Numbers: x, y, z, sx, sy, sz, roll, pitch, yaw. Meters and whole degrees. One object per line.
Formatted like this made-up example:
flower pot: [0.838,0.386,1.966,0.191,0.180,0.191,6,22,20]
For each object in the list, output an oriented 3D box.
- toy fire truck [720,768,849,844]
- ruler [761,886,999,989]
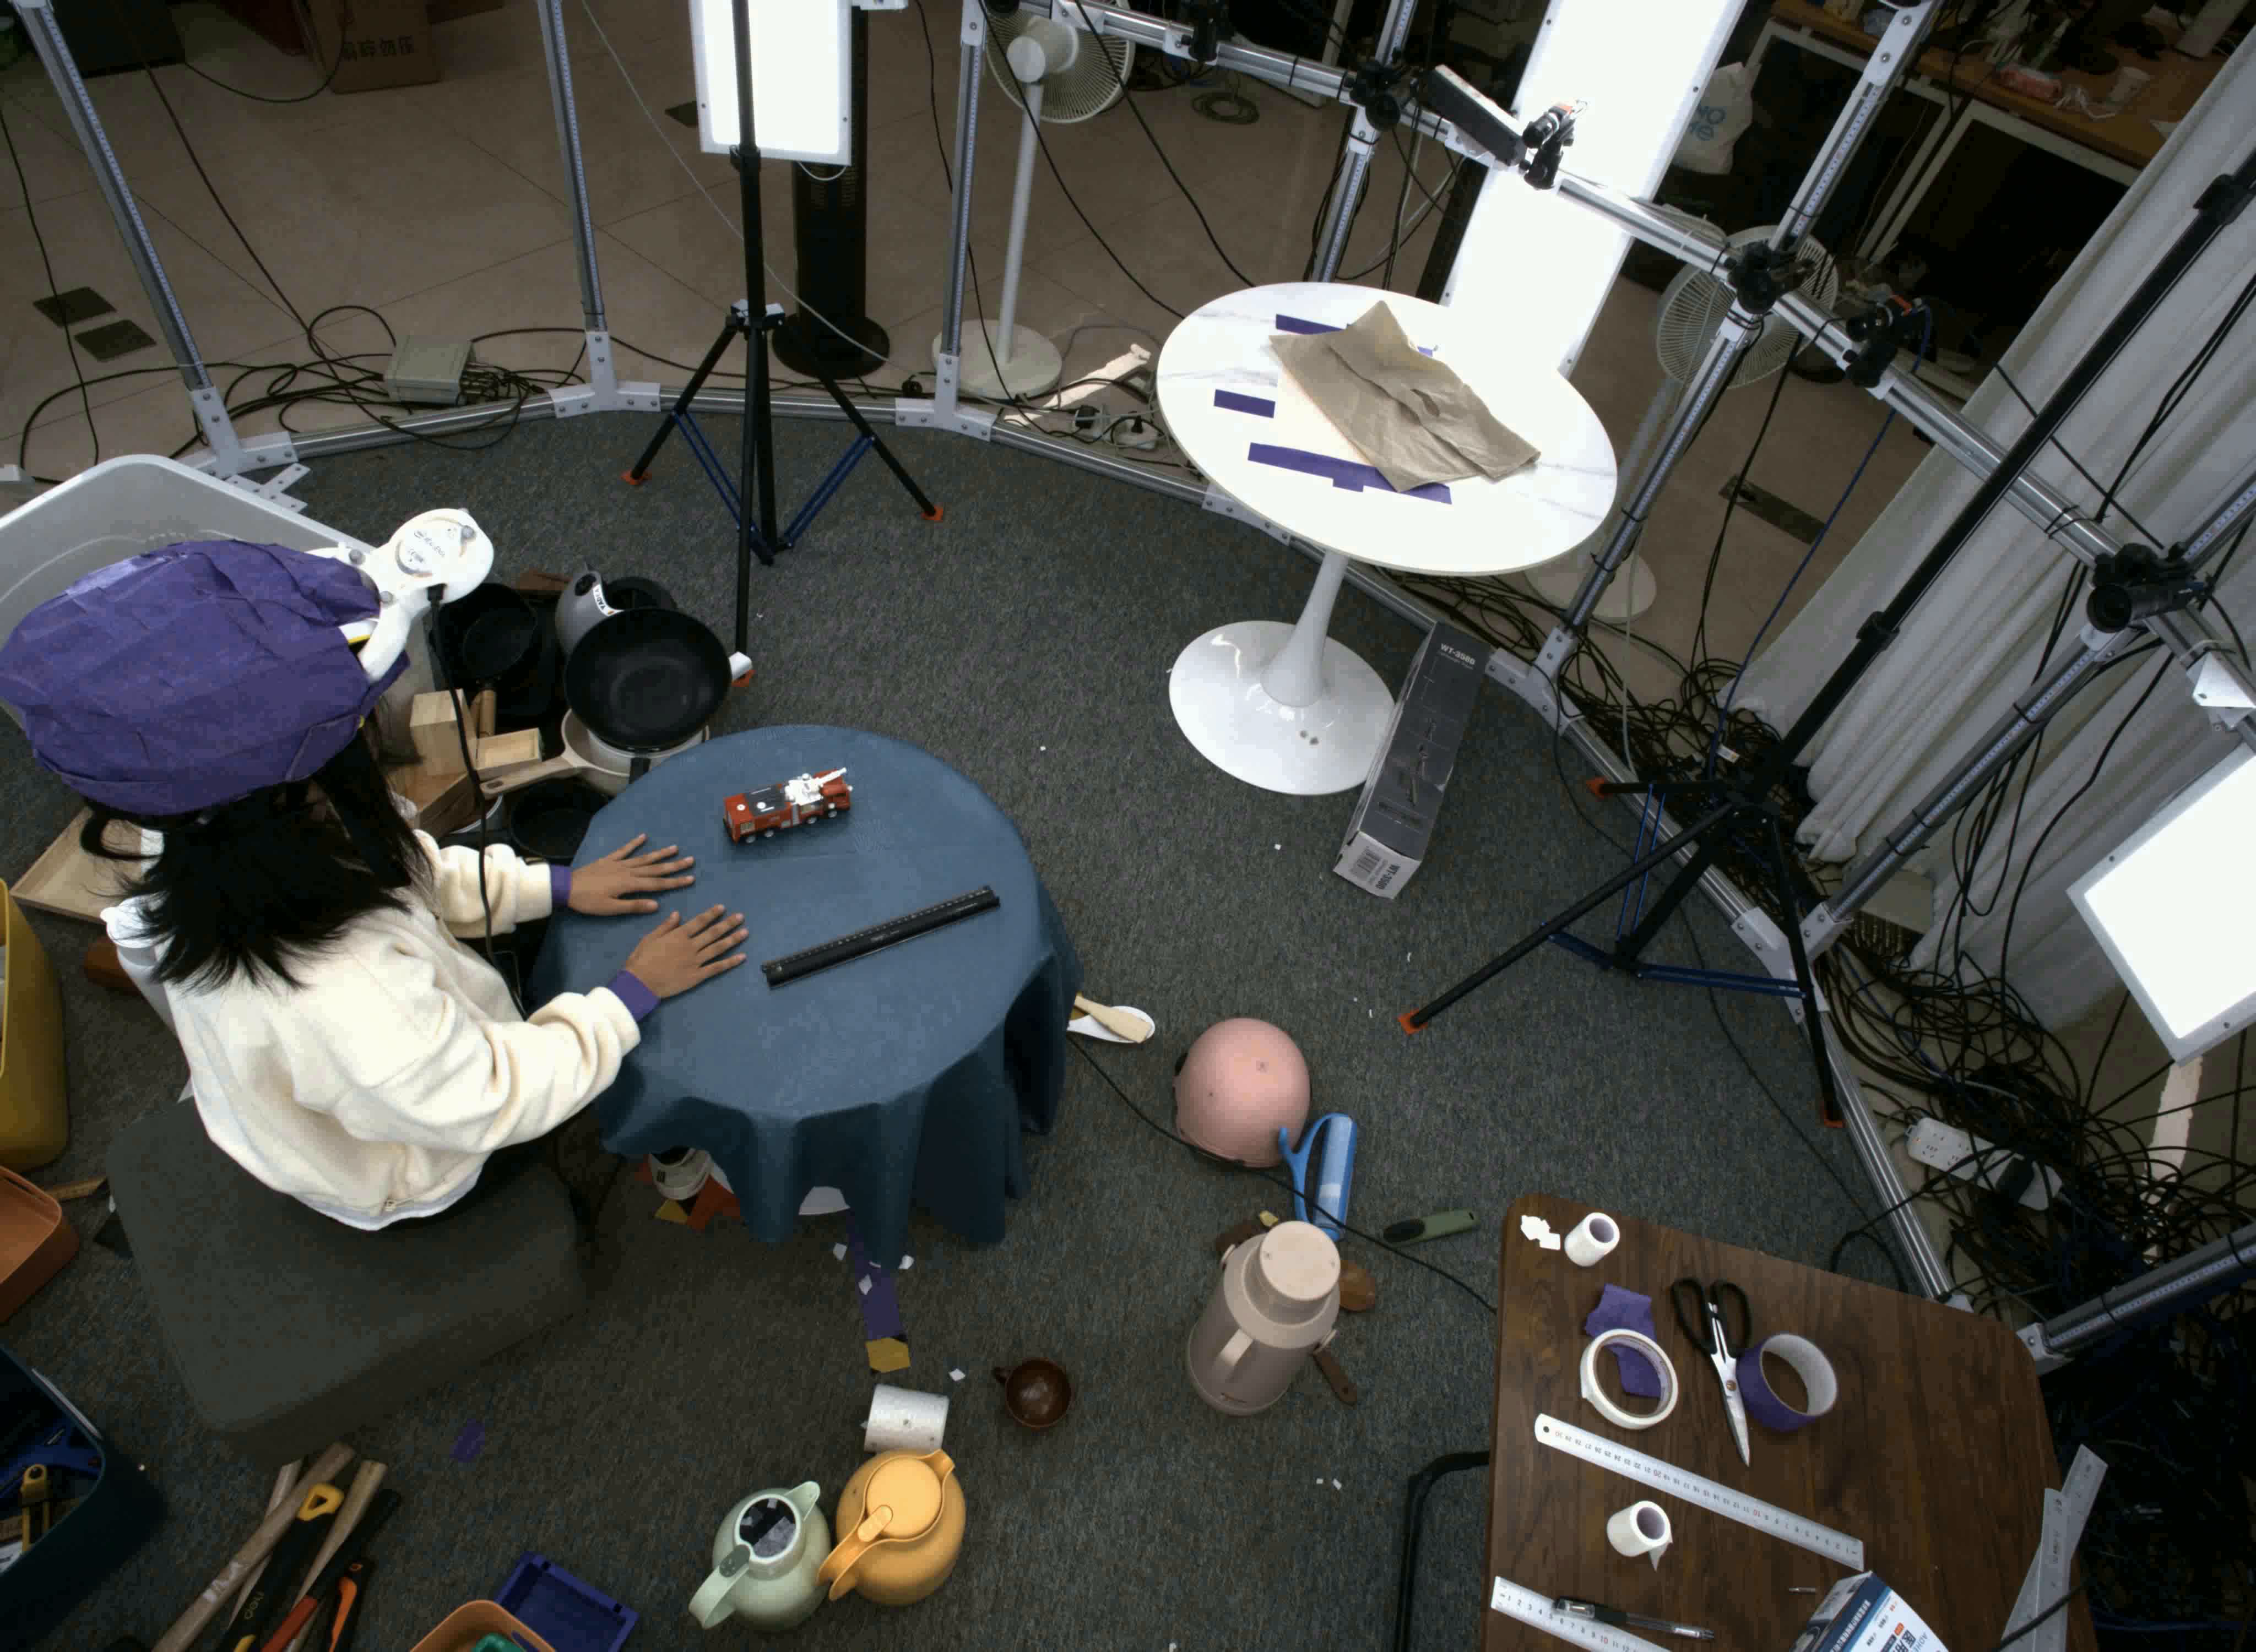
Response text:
toy fire truck: [-0.448,-0.030,1.697,0.169,0.072,0.052,-20,59,-25]
ruler: [-0.308,0.131,1.641,0.314,0.017,0.038,-19,57,-26]
